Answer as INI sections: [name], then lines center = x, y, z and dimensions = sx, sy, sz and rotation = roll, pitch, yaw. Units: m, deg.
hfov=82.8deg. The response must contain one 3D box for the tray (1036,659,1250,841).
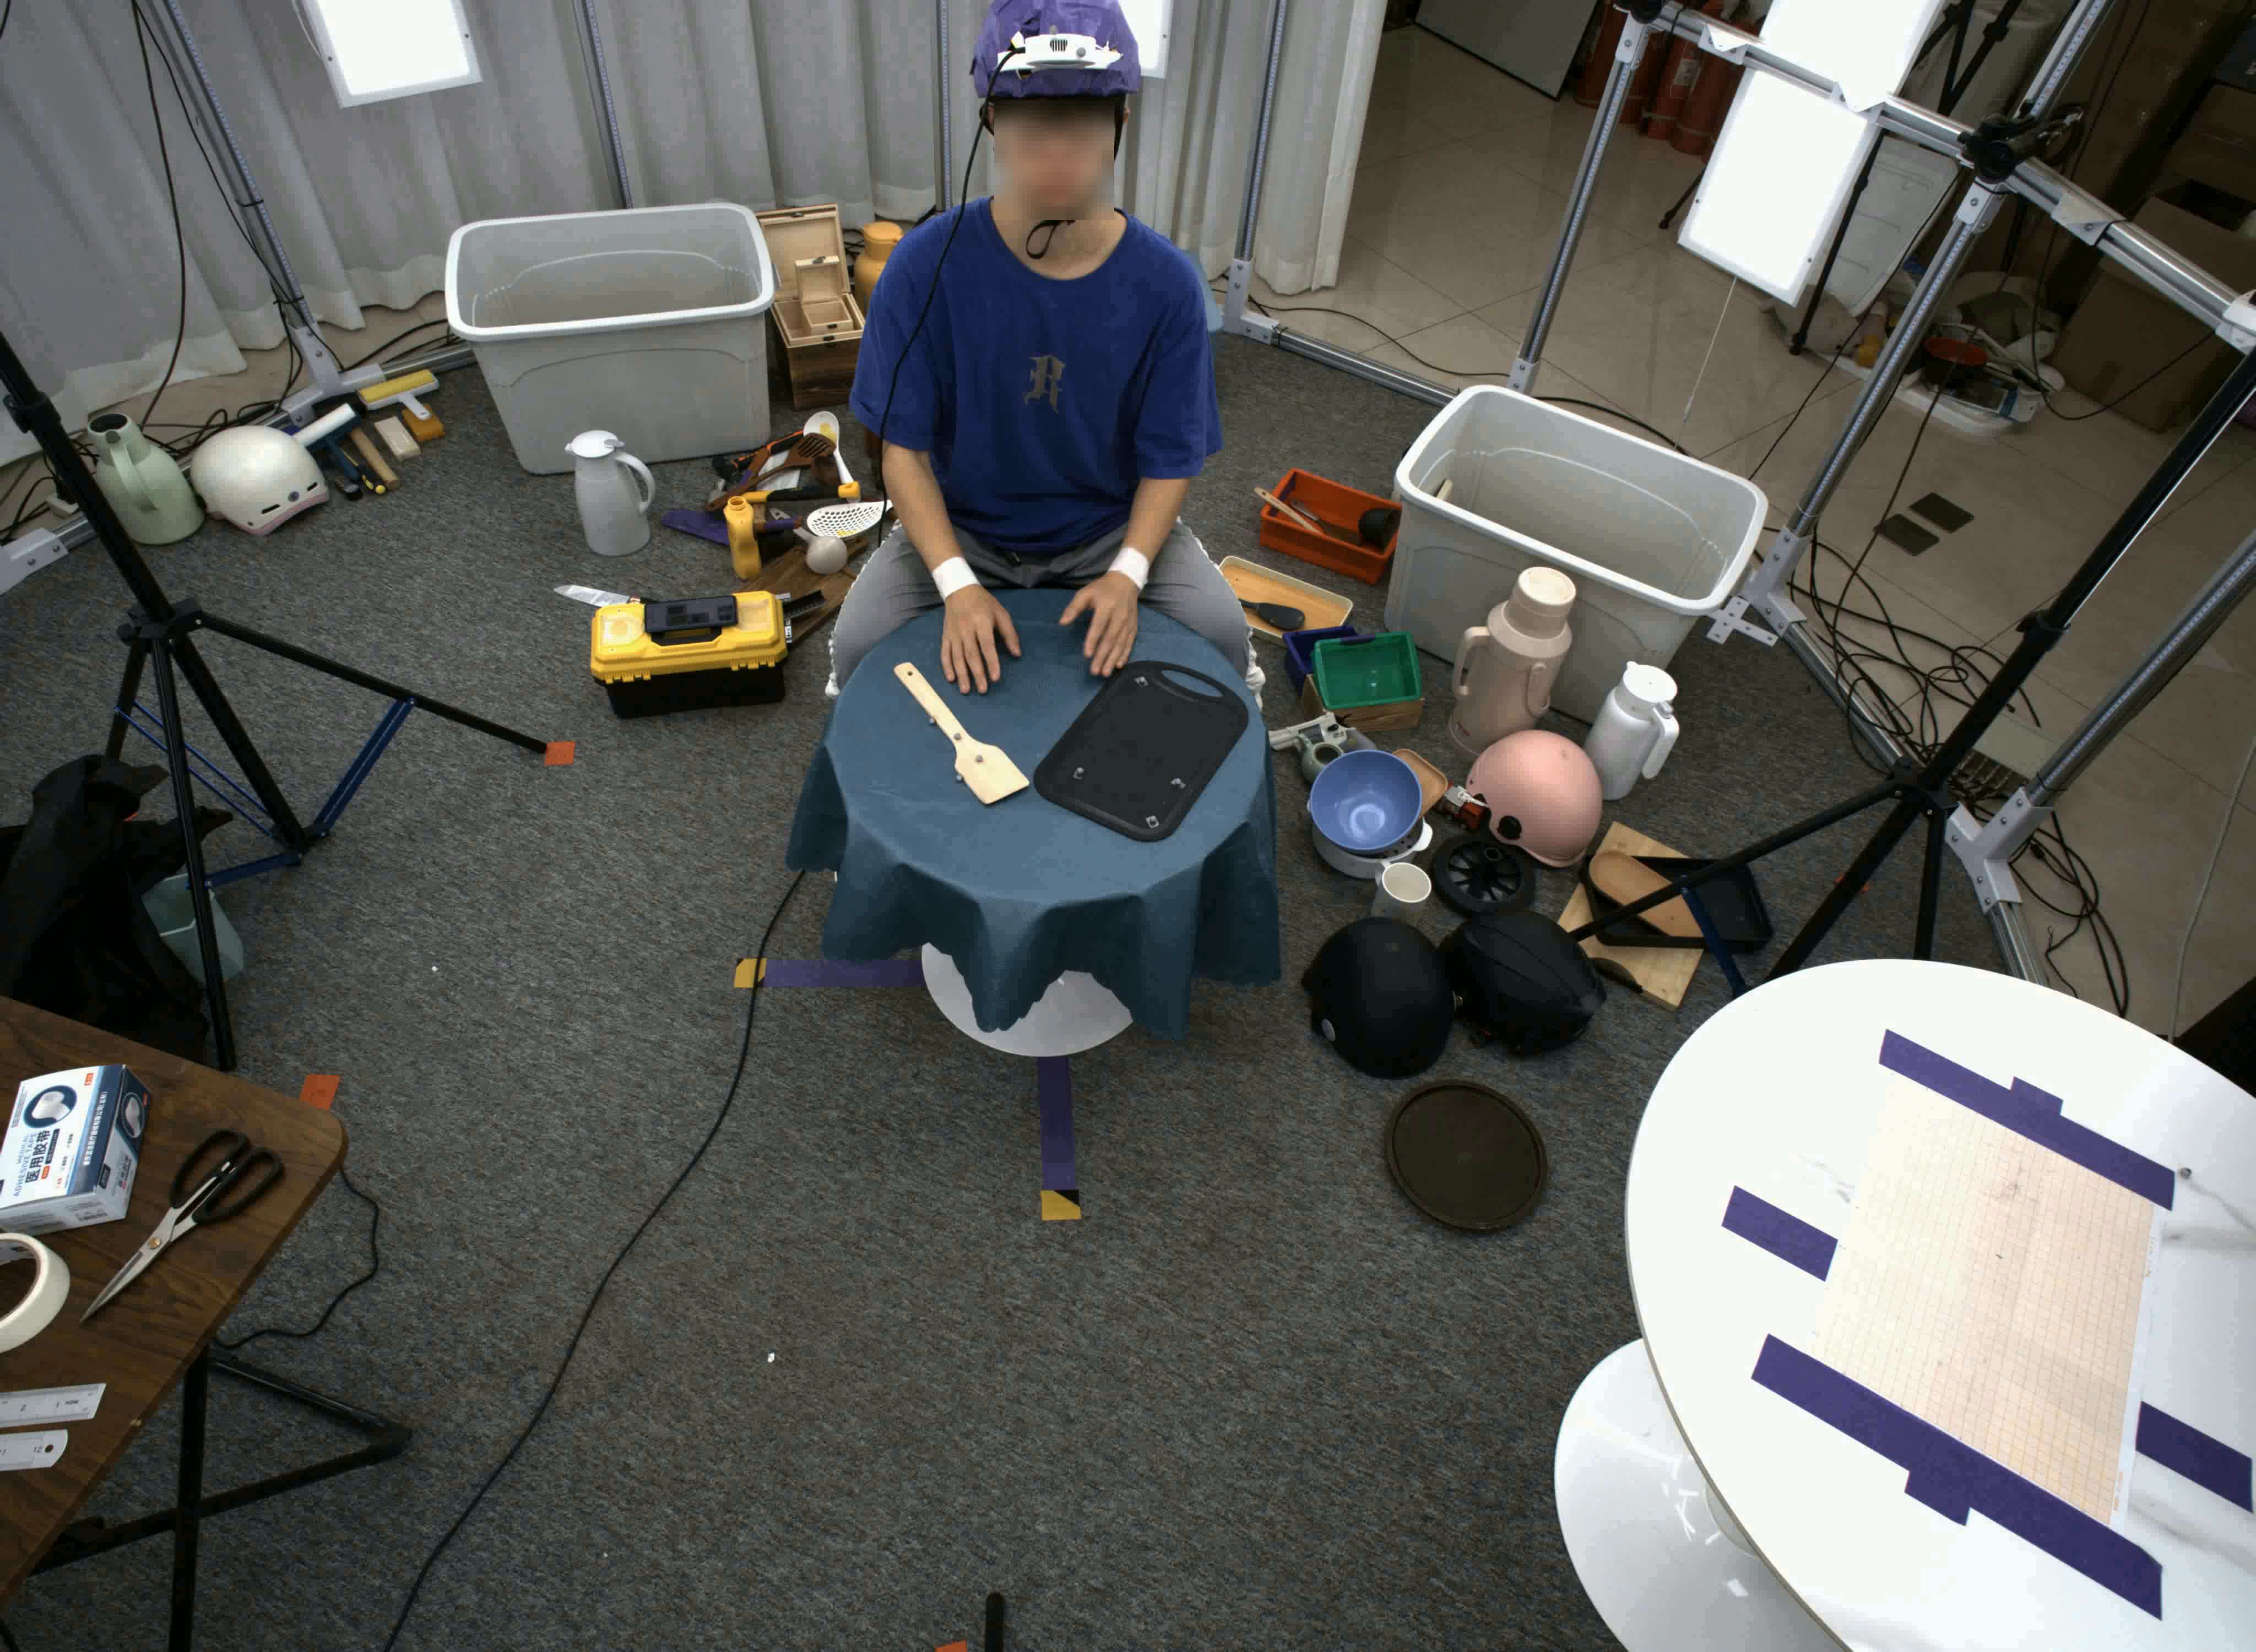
[tray]
center = 0.028, -0.120, 1.774
dimensions = 0.213, 0.009, 0.331
rotation = 25, 53, 17

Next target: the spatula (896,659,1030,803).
[spatula]
center = -0.241, -0.138, 1.771
dimensions = 0.072, 0.010, 0.298
rotation = -27, 57, -22
